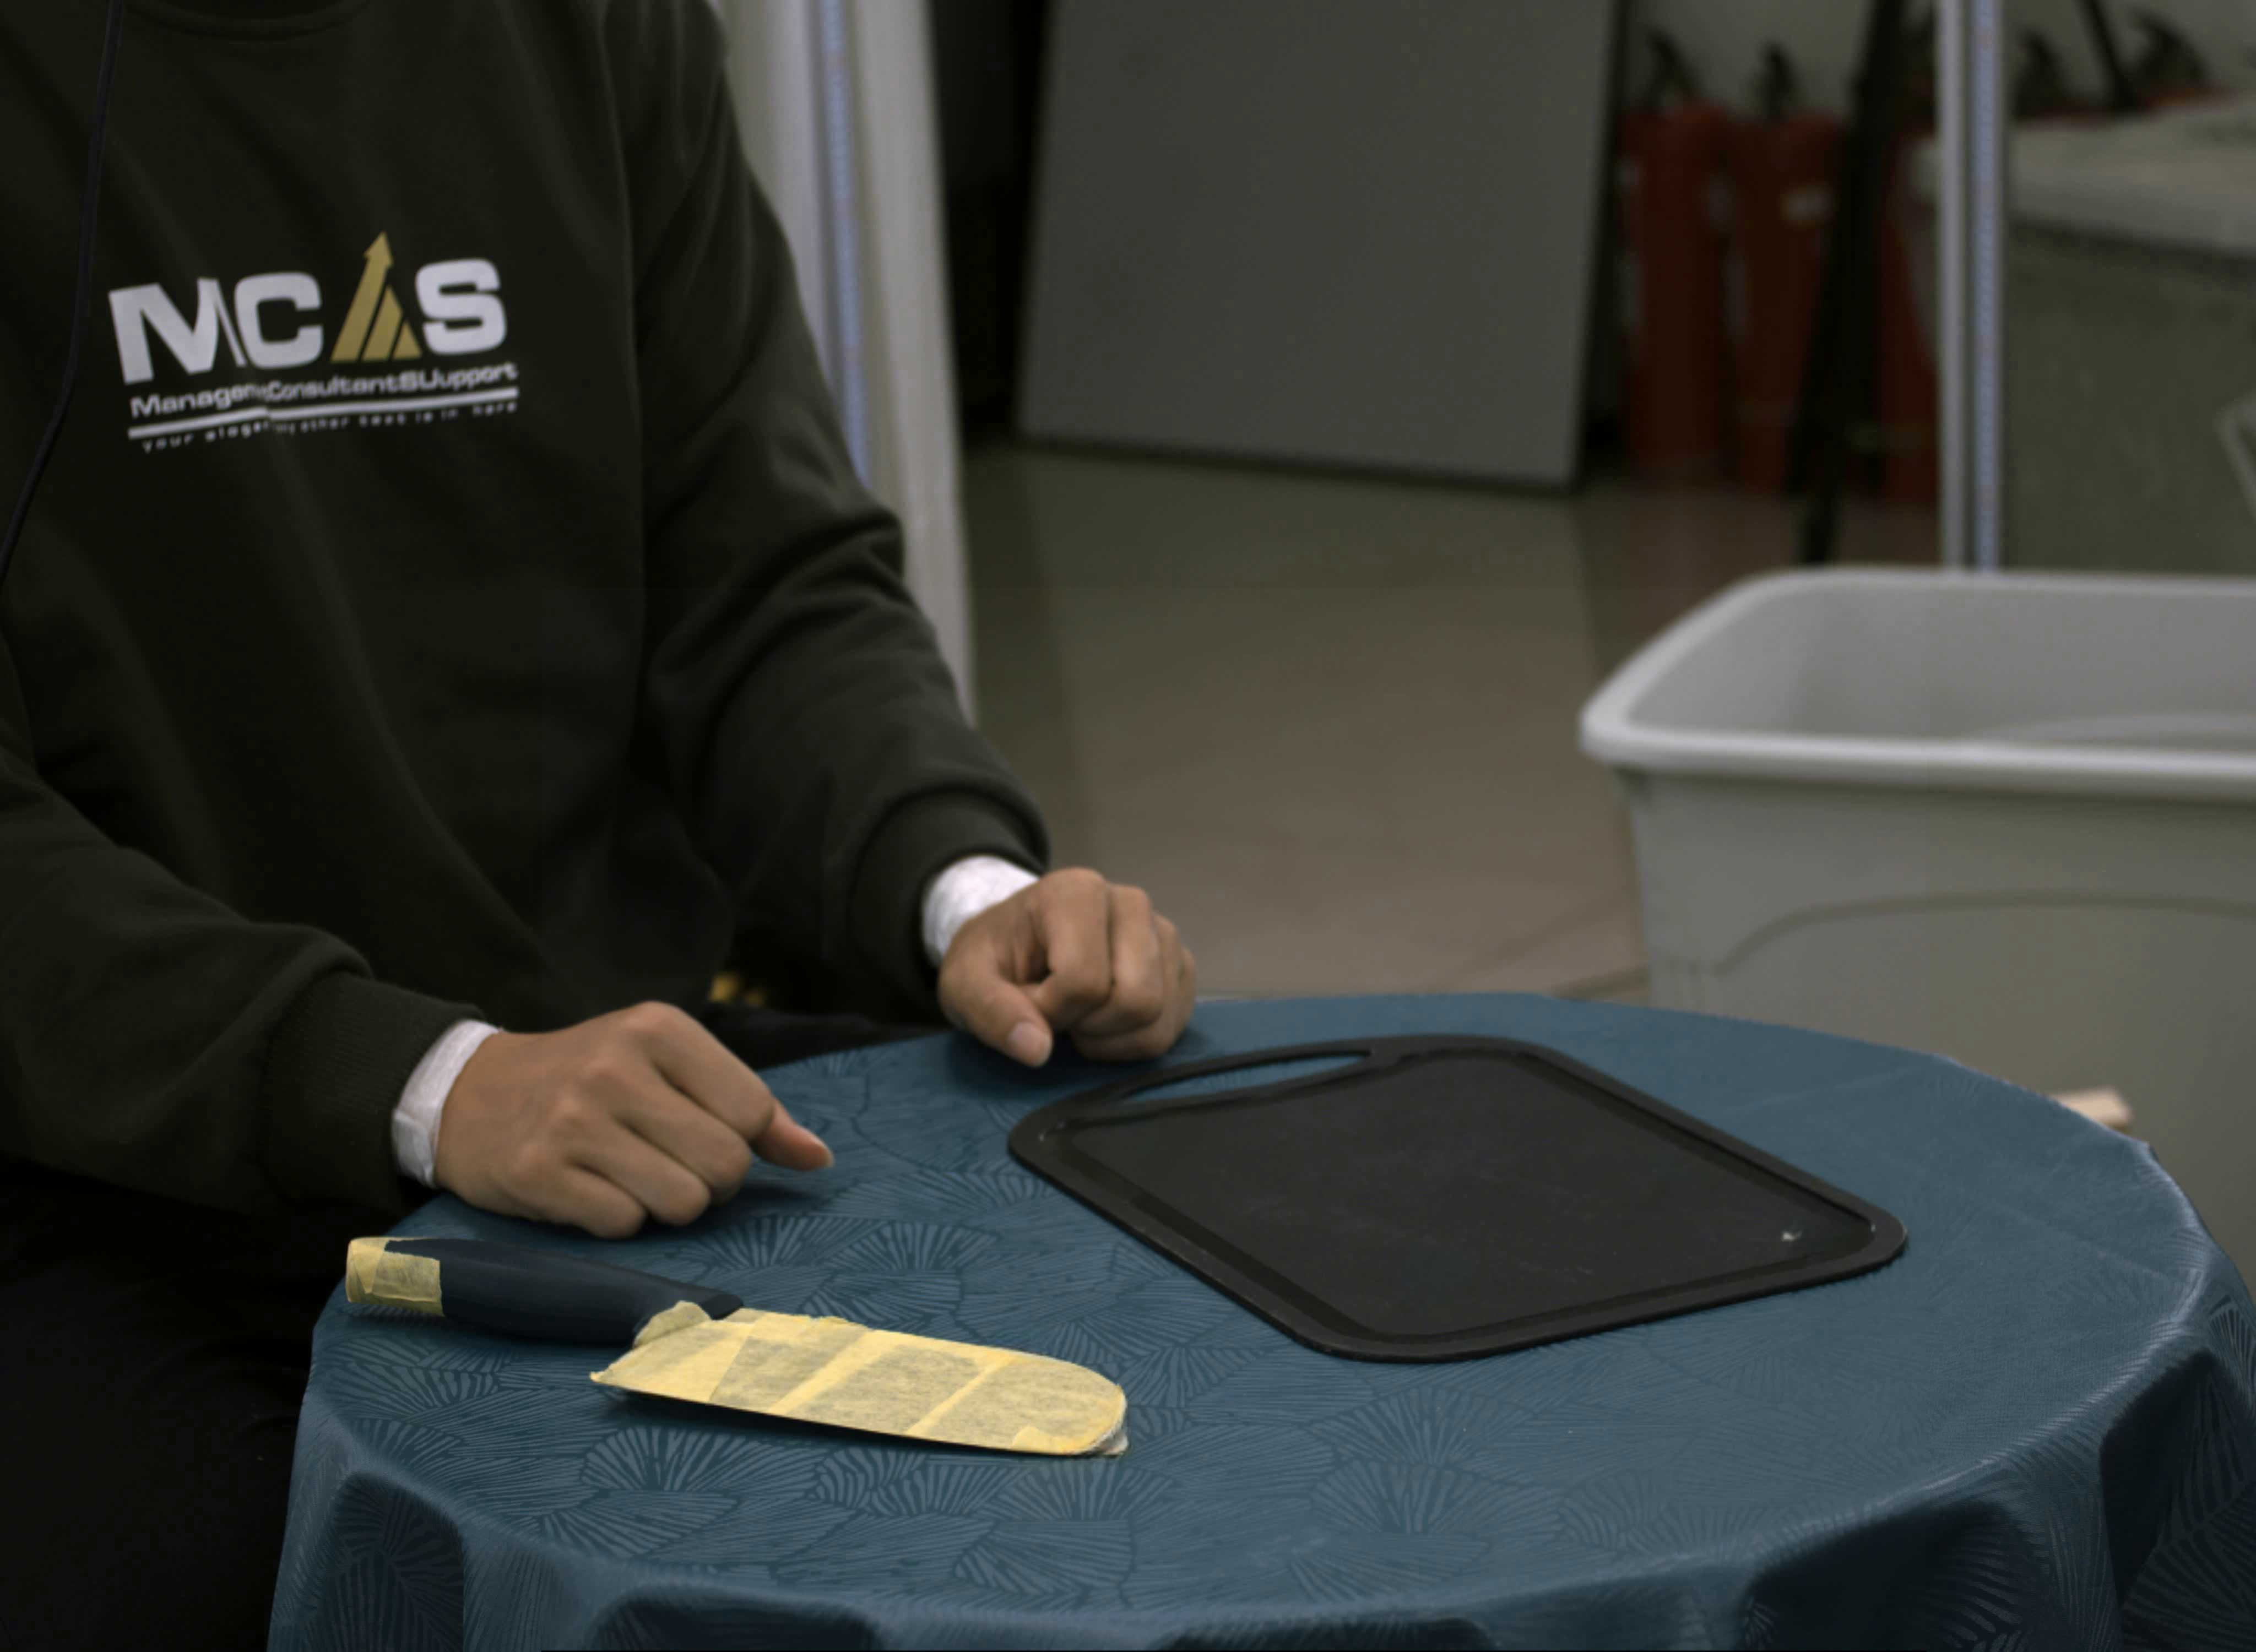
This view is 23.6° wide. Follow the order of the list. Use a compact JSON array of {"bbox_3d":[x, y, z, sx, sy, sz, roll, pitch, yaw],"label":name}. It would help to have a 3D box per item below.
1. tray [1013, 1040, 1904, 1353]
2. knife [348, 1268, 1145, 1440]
[{"bbox_3d":[0.097,0.114,1.760,0.206,0.010,0.328,-10,14,-22],"label":"tray"},{"bbox_3d":[-0.122,0.161,1.618,0.290,0.027,0.080,5,13,29],"label":"knife"}]
